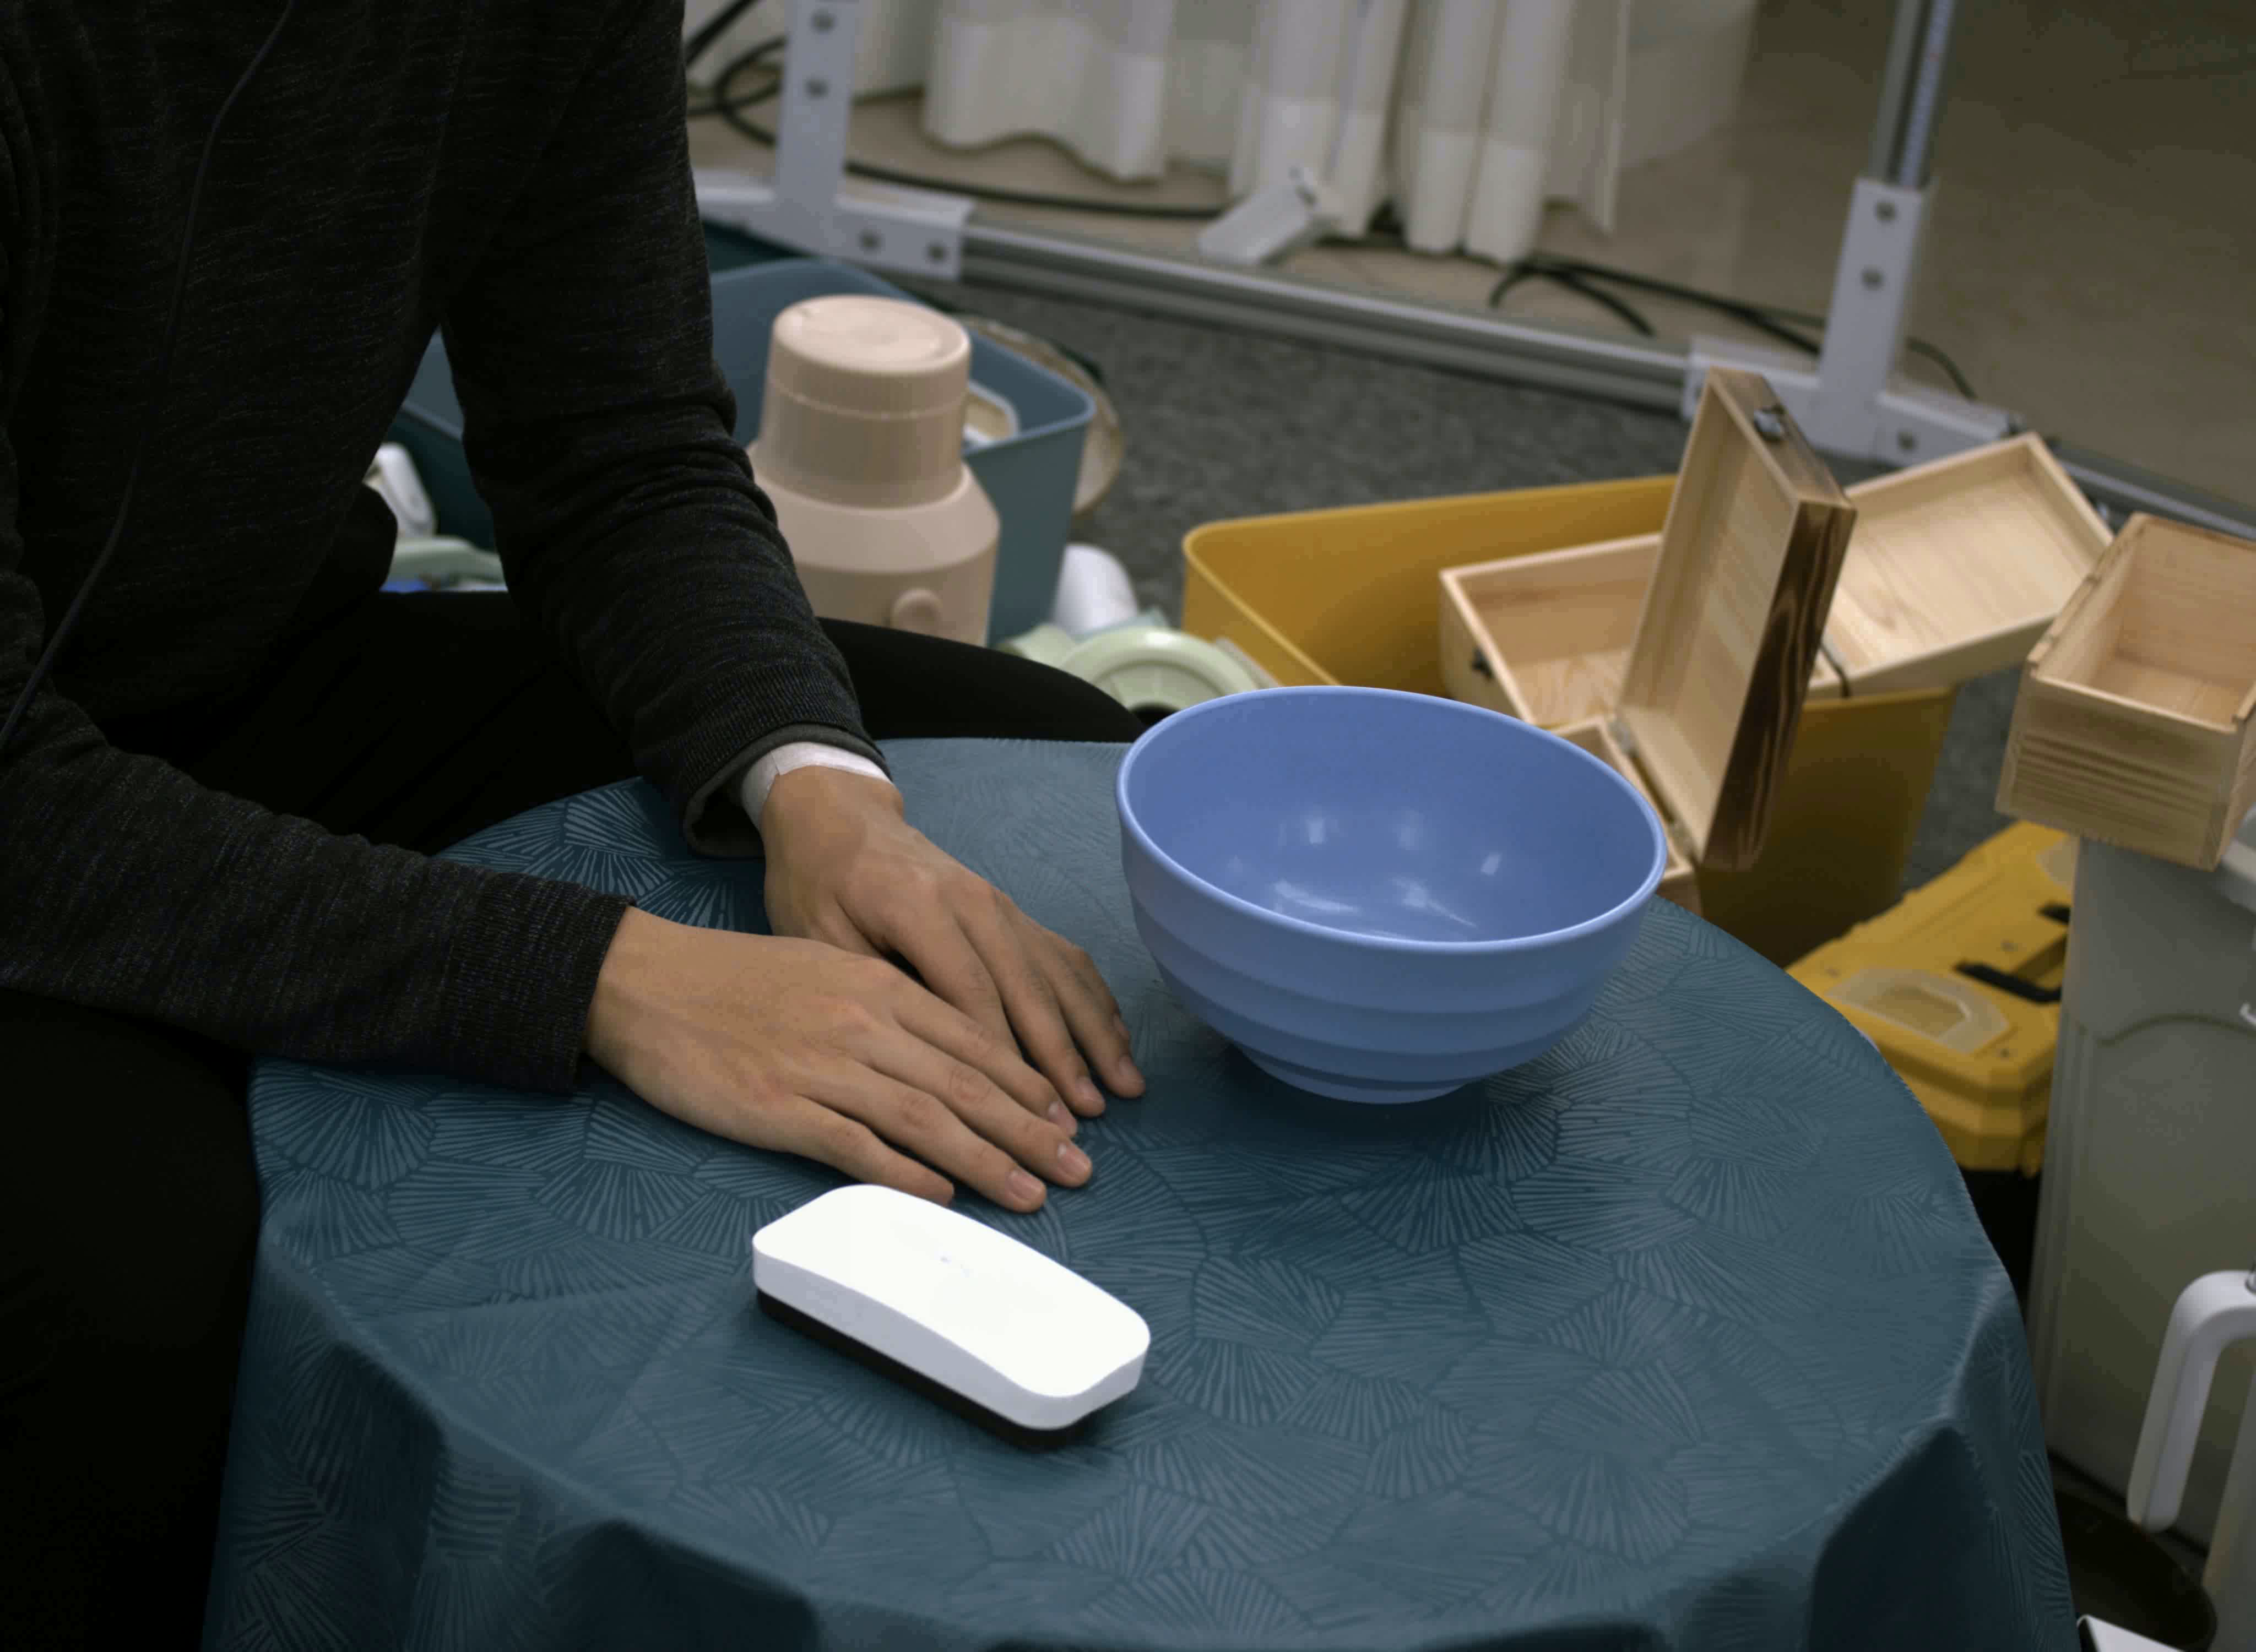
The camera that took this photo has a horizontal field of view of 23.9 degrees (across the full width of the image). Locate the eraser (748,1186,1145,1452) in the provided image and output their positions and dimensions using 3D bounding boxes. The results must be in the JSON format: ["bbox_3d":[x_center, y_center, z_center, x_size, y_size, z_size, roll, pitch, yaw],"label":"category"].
[{"bbox_3d":[-0.058,0.153,1.696,0.132,0.034,0.063,25,31,31],"label":"eraser"}]

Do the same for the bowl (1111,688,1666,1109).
[{"bbox_3d":[0.087,0.037,1.891,0.196,0.095,0.198,4,28,-3],"label":"bowl"}]
